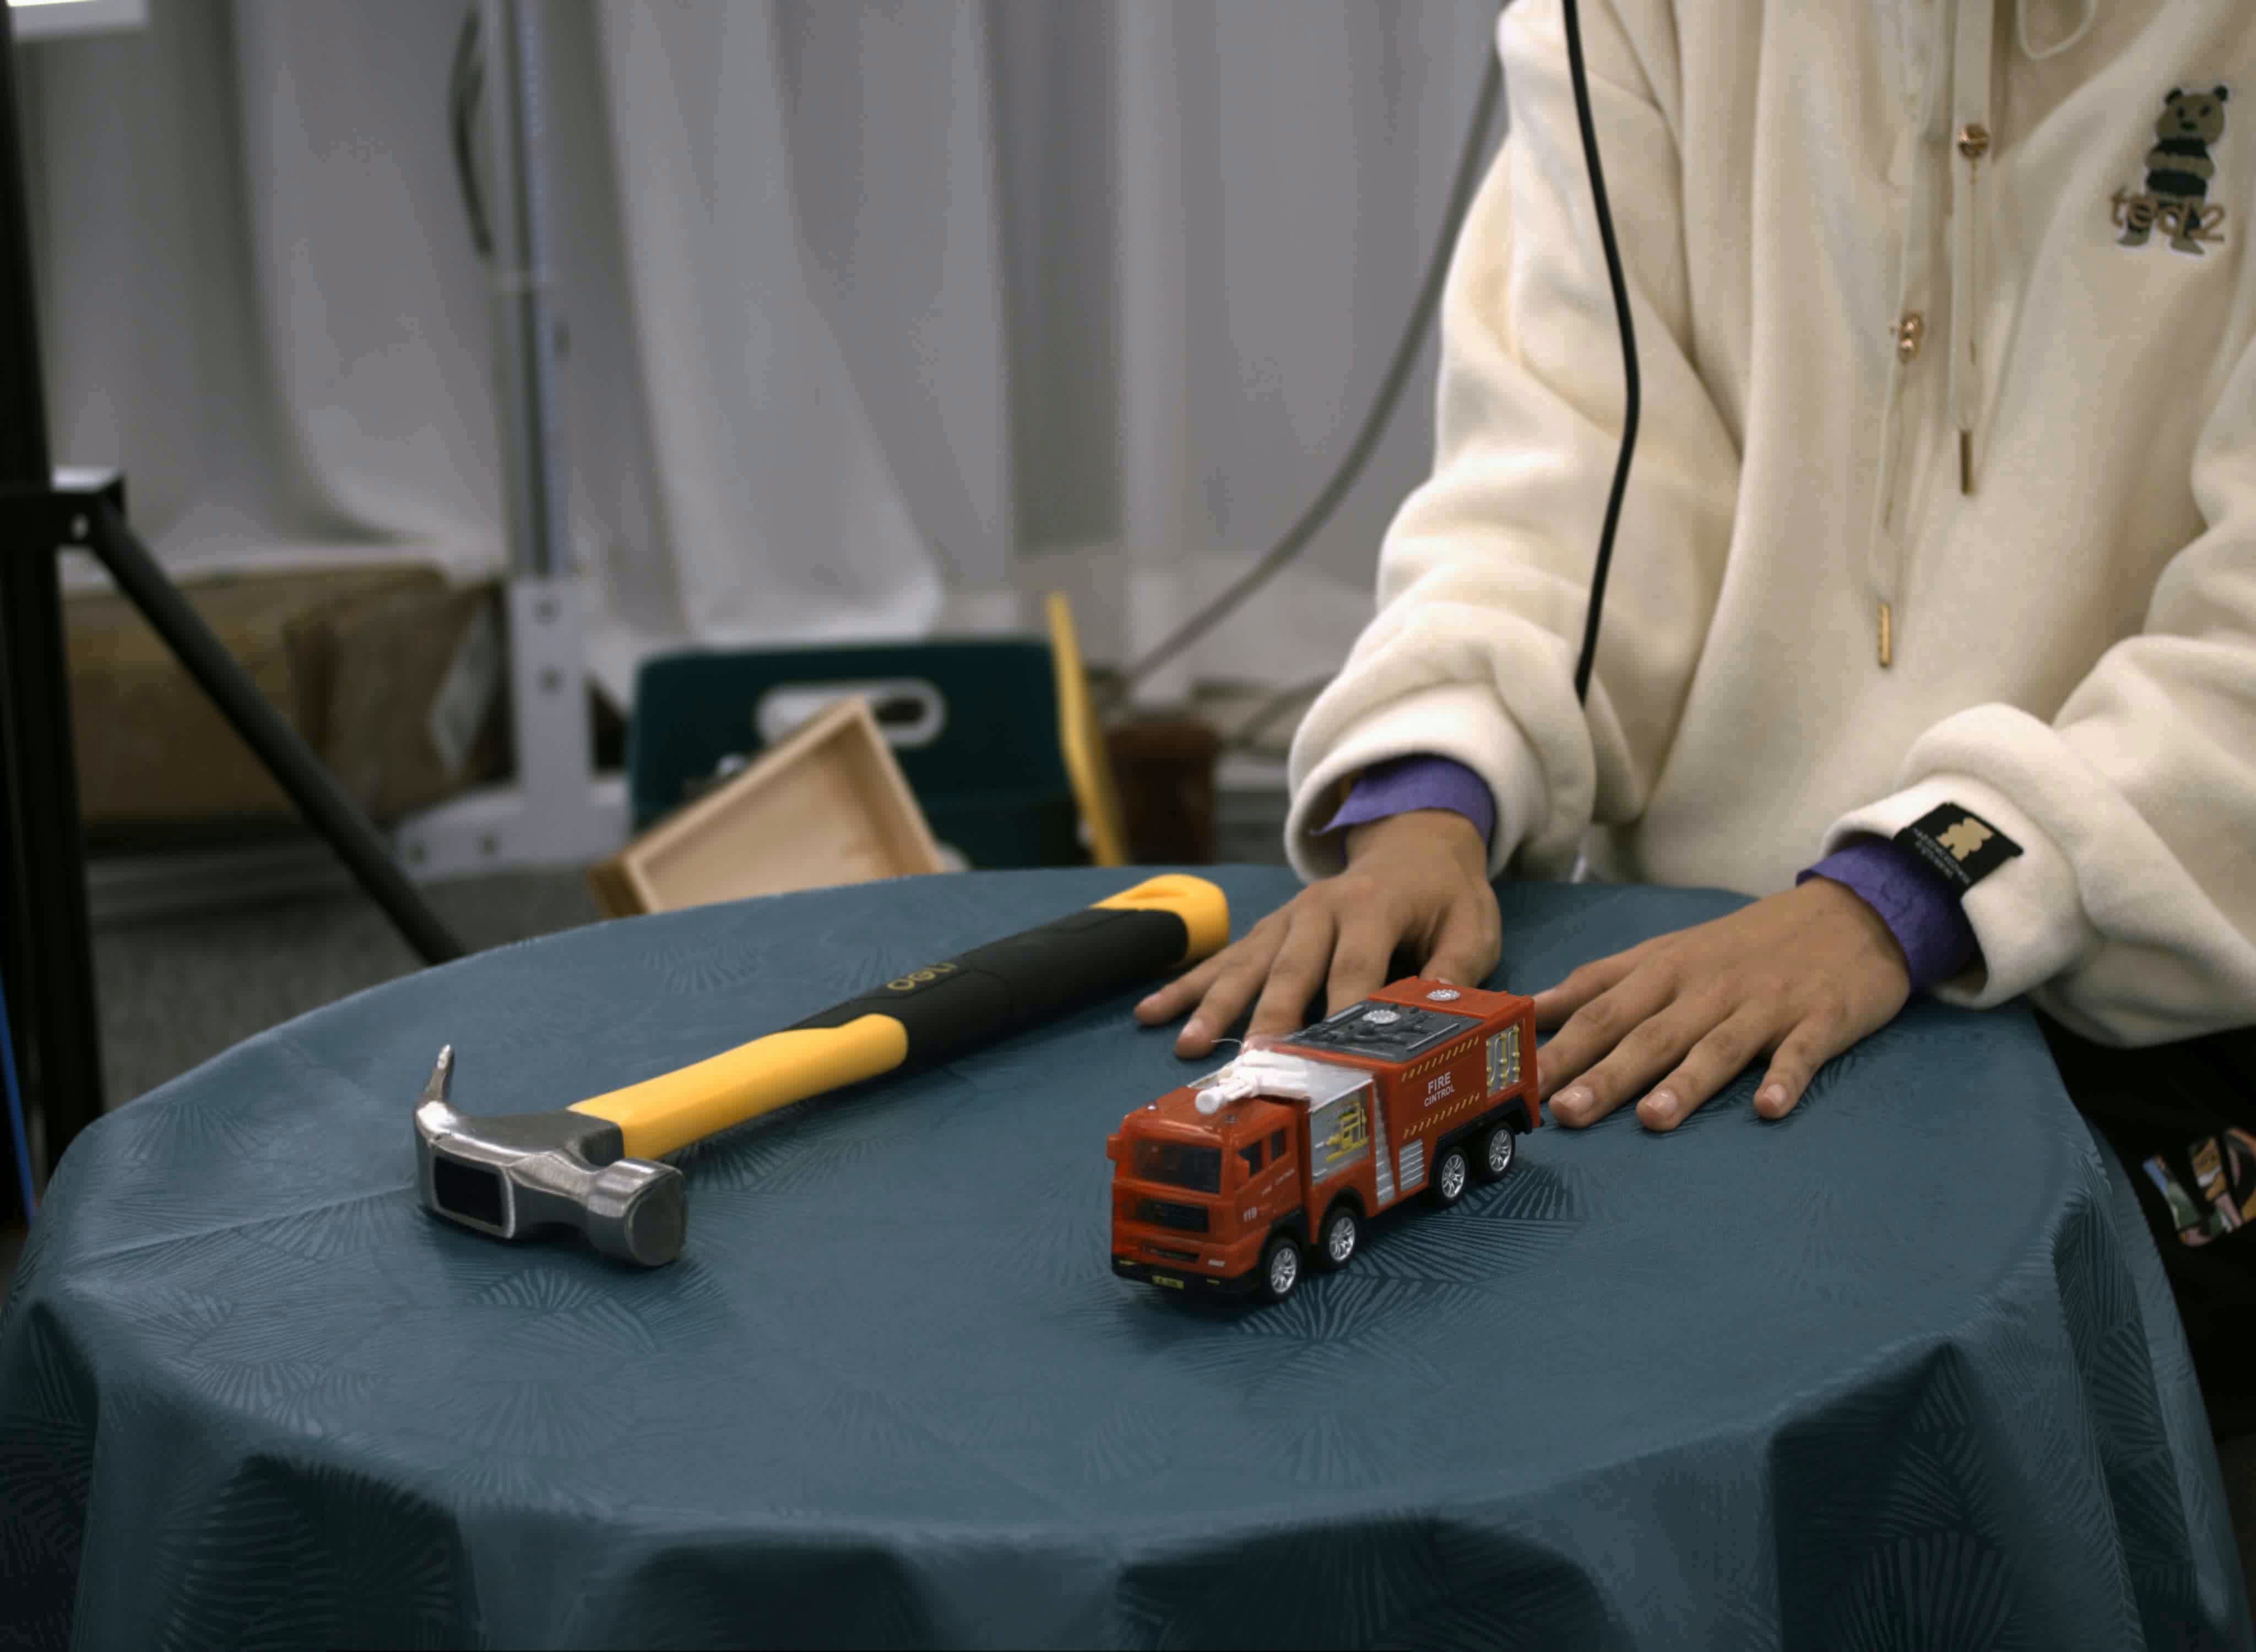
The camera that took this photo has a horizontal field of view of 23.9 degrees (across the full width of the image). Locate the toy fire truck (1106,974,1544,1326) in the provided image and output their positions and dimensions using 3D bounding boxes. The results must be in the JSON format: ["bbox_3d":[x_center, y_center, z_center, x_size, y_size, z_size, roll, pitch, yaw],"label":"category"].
[{"bbox_3d":[0.058,0.089,1.509,0.055,0.070,0.164,9,18,35],"label":"toy fire truck"}]

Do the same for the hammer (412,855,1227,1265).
[{"bbox_3d":[-0.084,0.063,1.662,0.134,0.032,0.331,10,21,40],"label":"hammer"}]
